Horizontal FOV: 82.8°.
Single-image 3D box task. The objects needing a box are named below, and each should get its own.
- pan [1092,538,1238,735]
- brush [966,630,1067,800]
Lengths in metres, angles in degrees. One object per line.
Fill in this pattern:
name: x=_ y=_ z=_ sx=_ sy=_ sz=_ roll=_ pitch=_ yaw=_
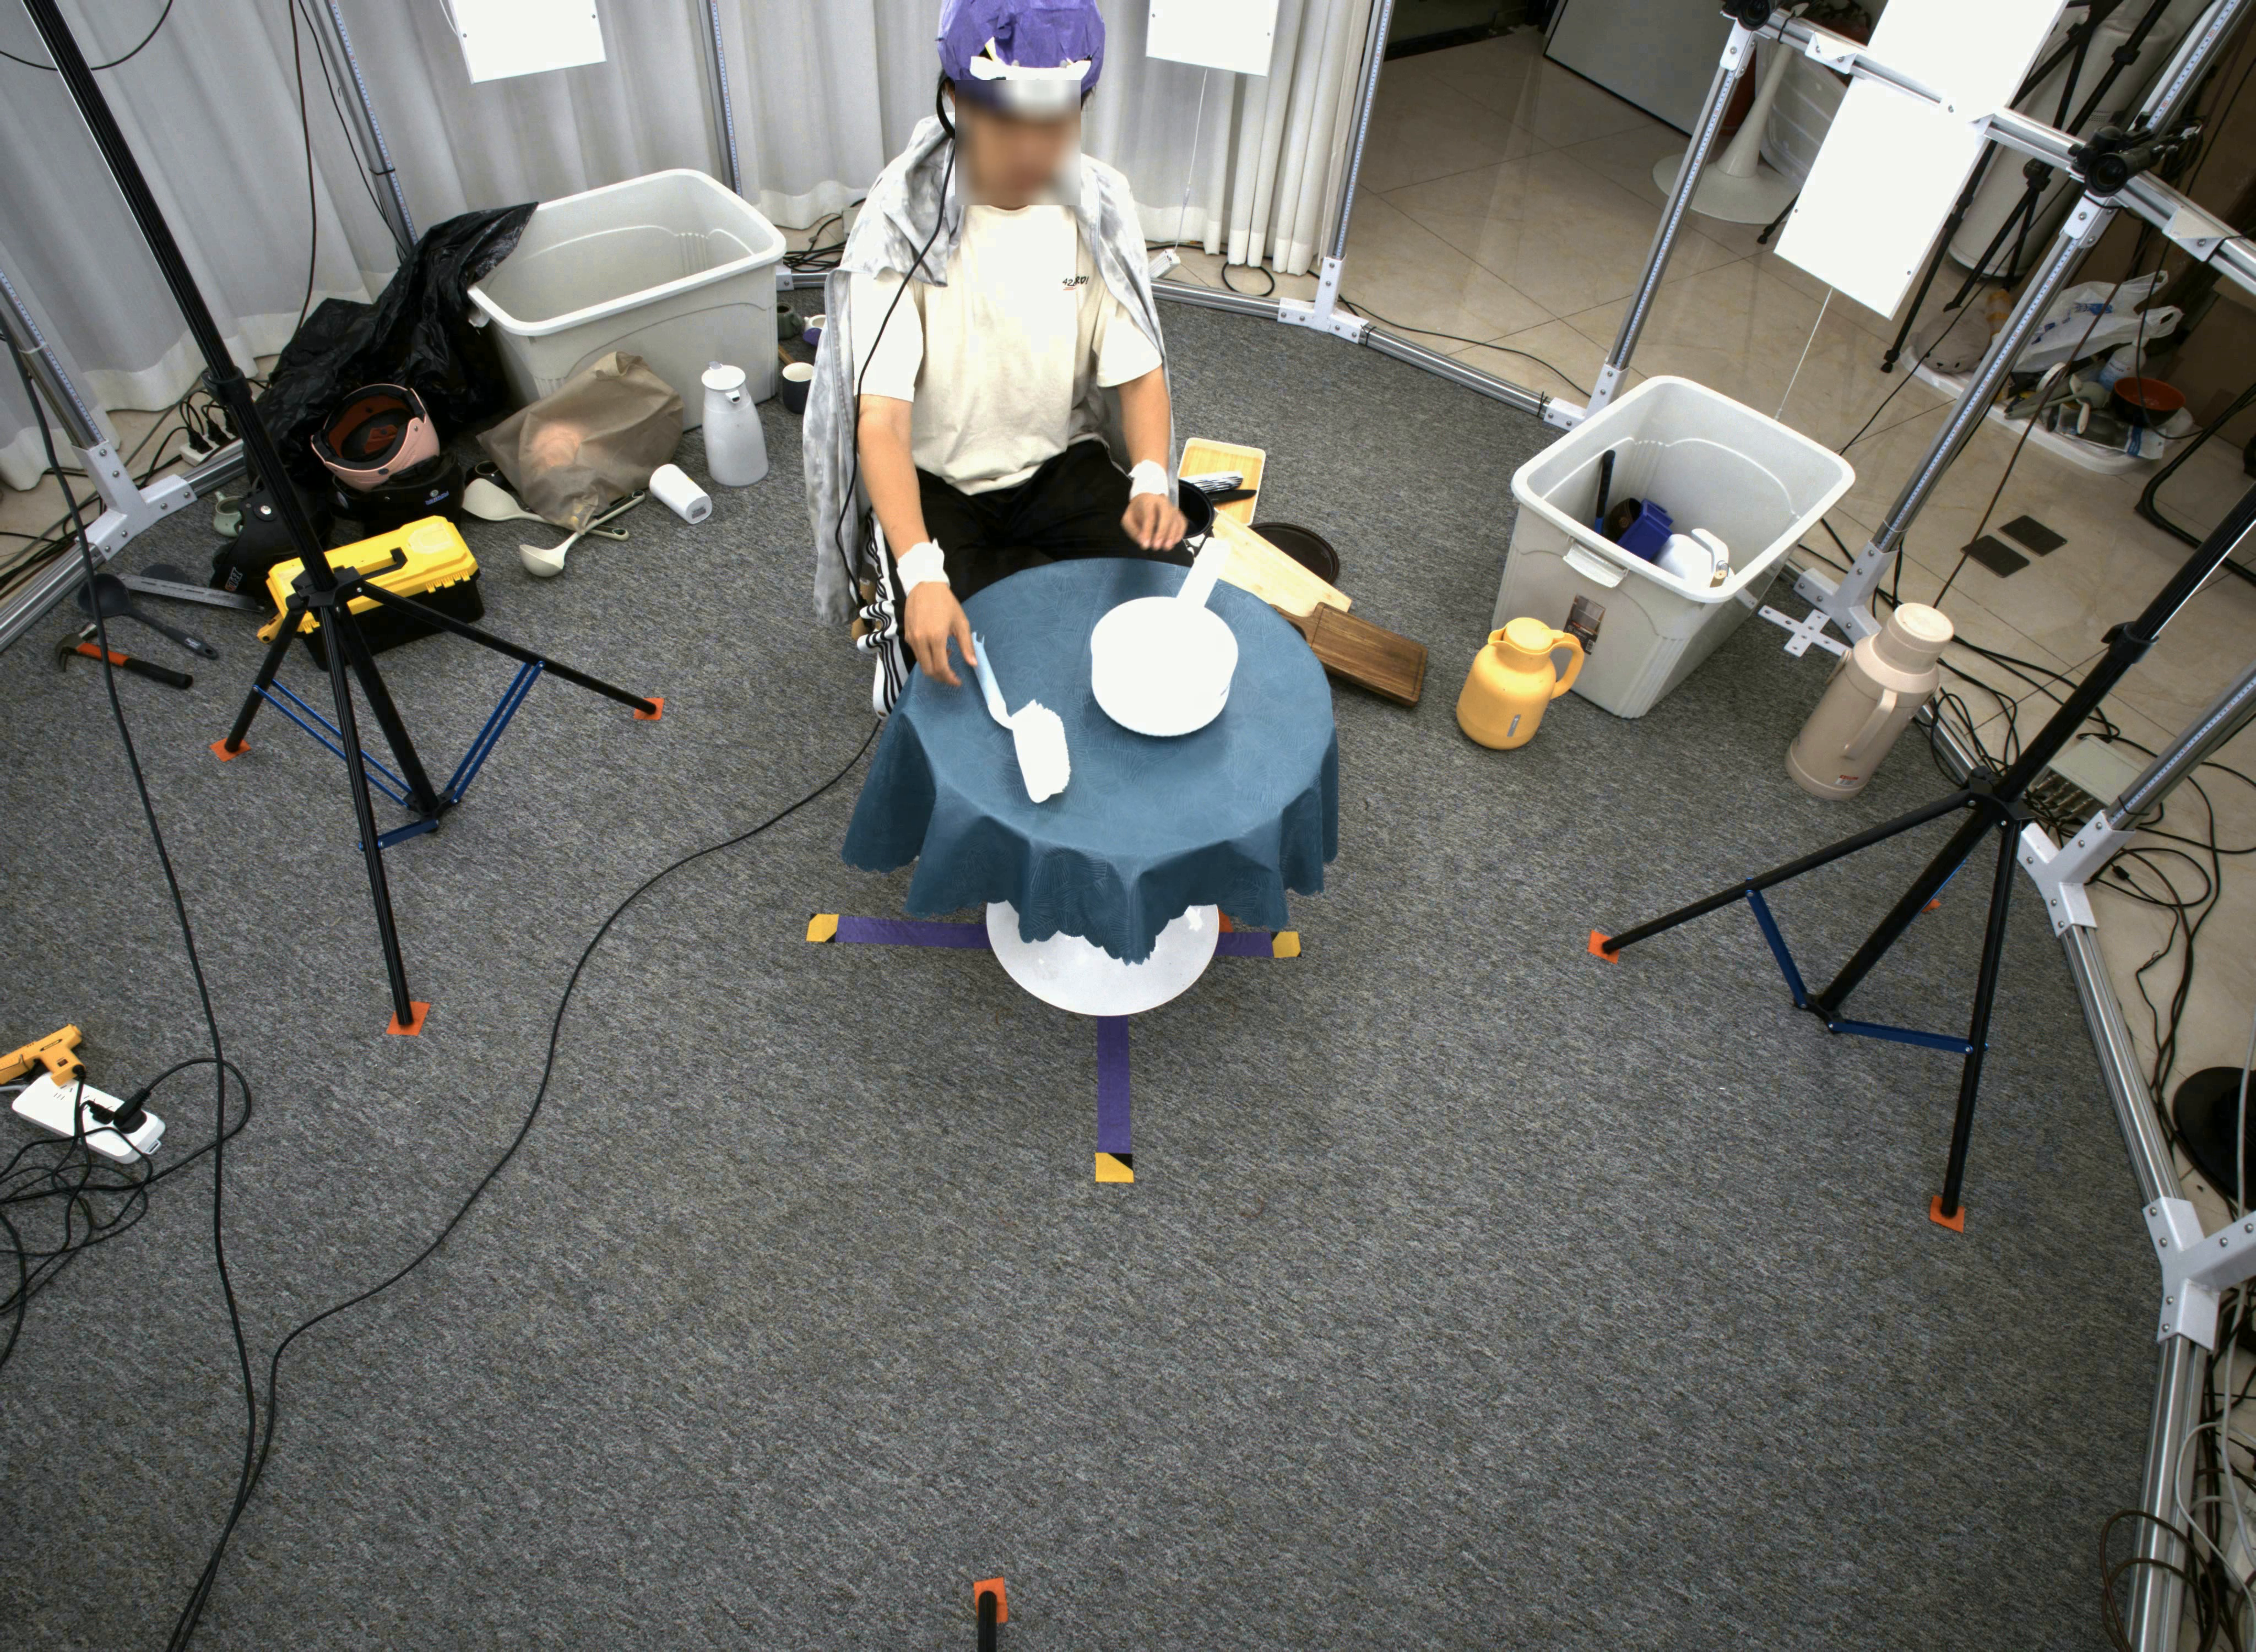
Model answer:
pan: x=0.074 y=-0.273 z=1.838 sx=0.202 sy=0.099 sz=0.362 roll=17 pitch=49 yaw=11
brush: x=-0.149 y=-0.176 z=1.750 sx=0.084 sy=0.081 sz=0.333 roll=-16 pitch=53 yaw=-9
